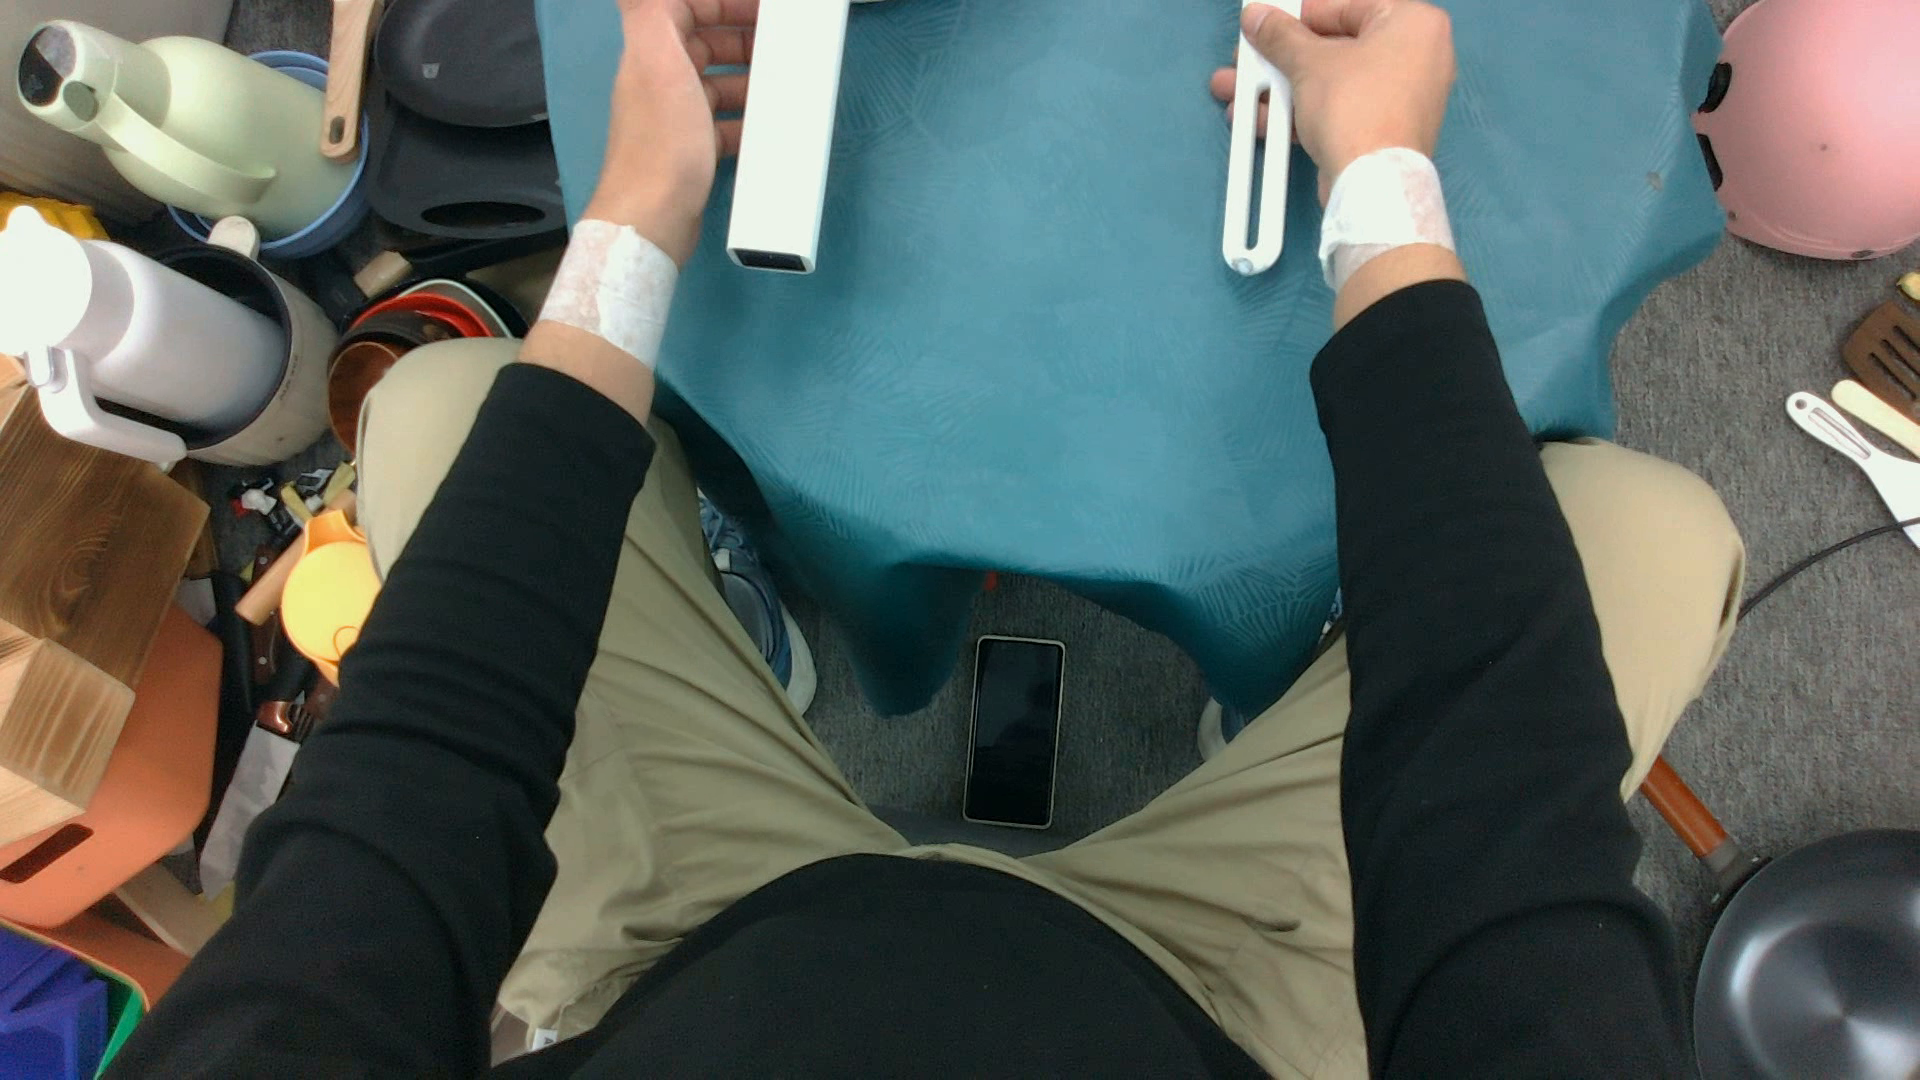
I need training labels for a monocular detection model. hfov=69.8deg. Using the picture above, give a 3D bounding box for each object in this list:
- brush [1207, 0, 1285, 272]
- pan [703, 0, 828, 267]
[{"bbox_3d":[0.145,-0.270,0.689,0.068,0.056,0.267,4,82,34],"label":"brush"},{"bbox_3d":[-0.075,-0.303,0.687,0.201,0.102,0.355,6,84,2],"label":"pan"}]
